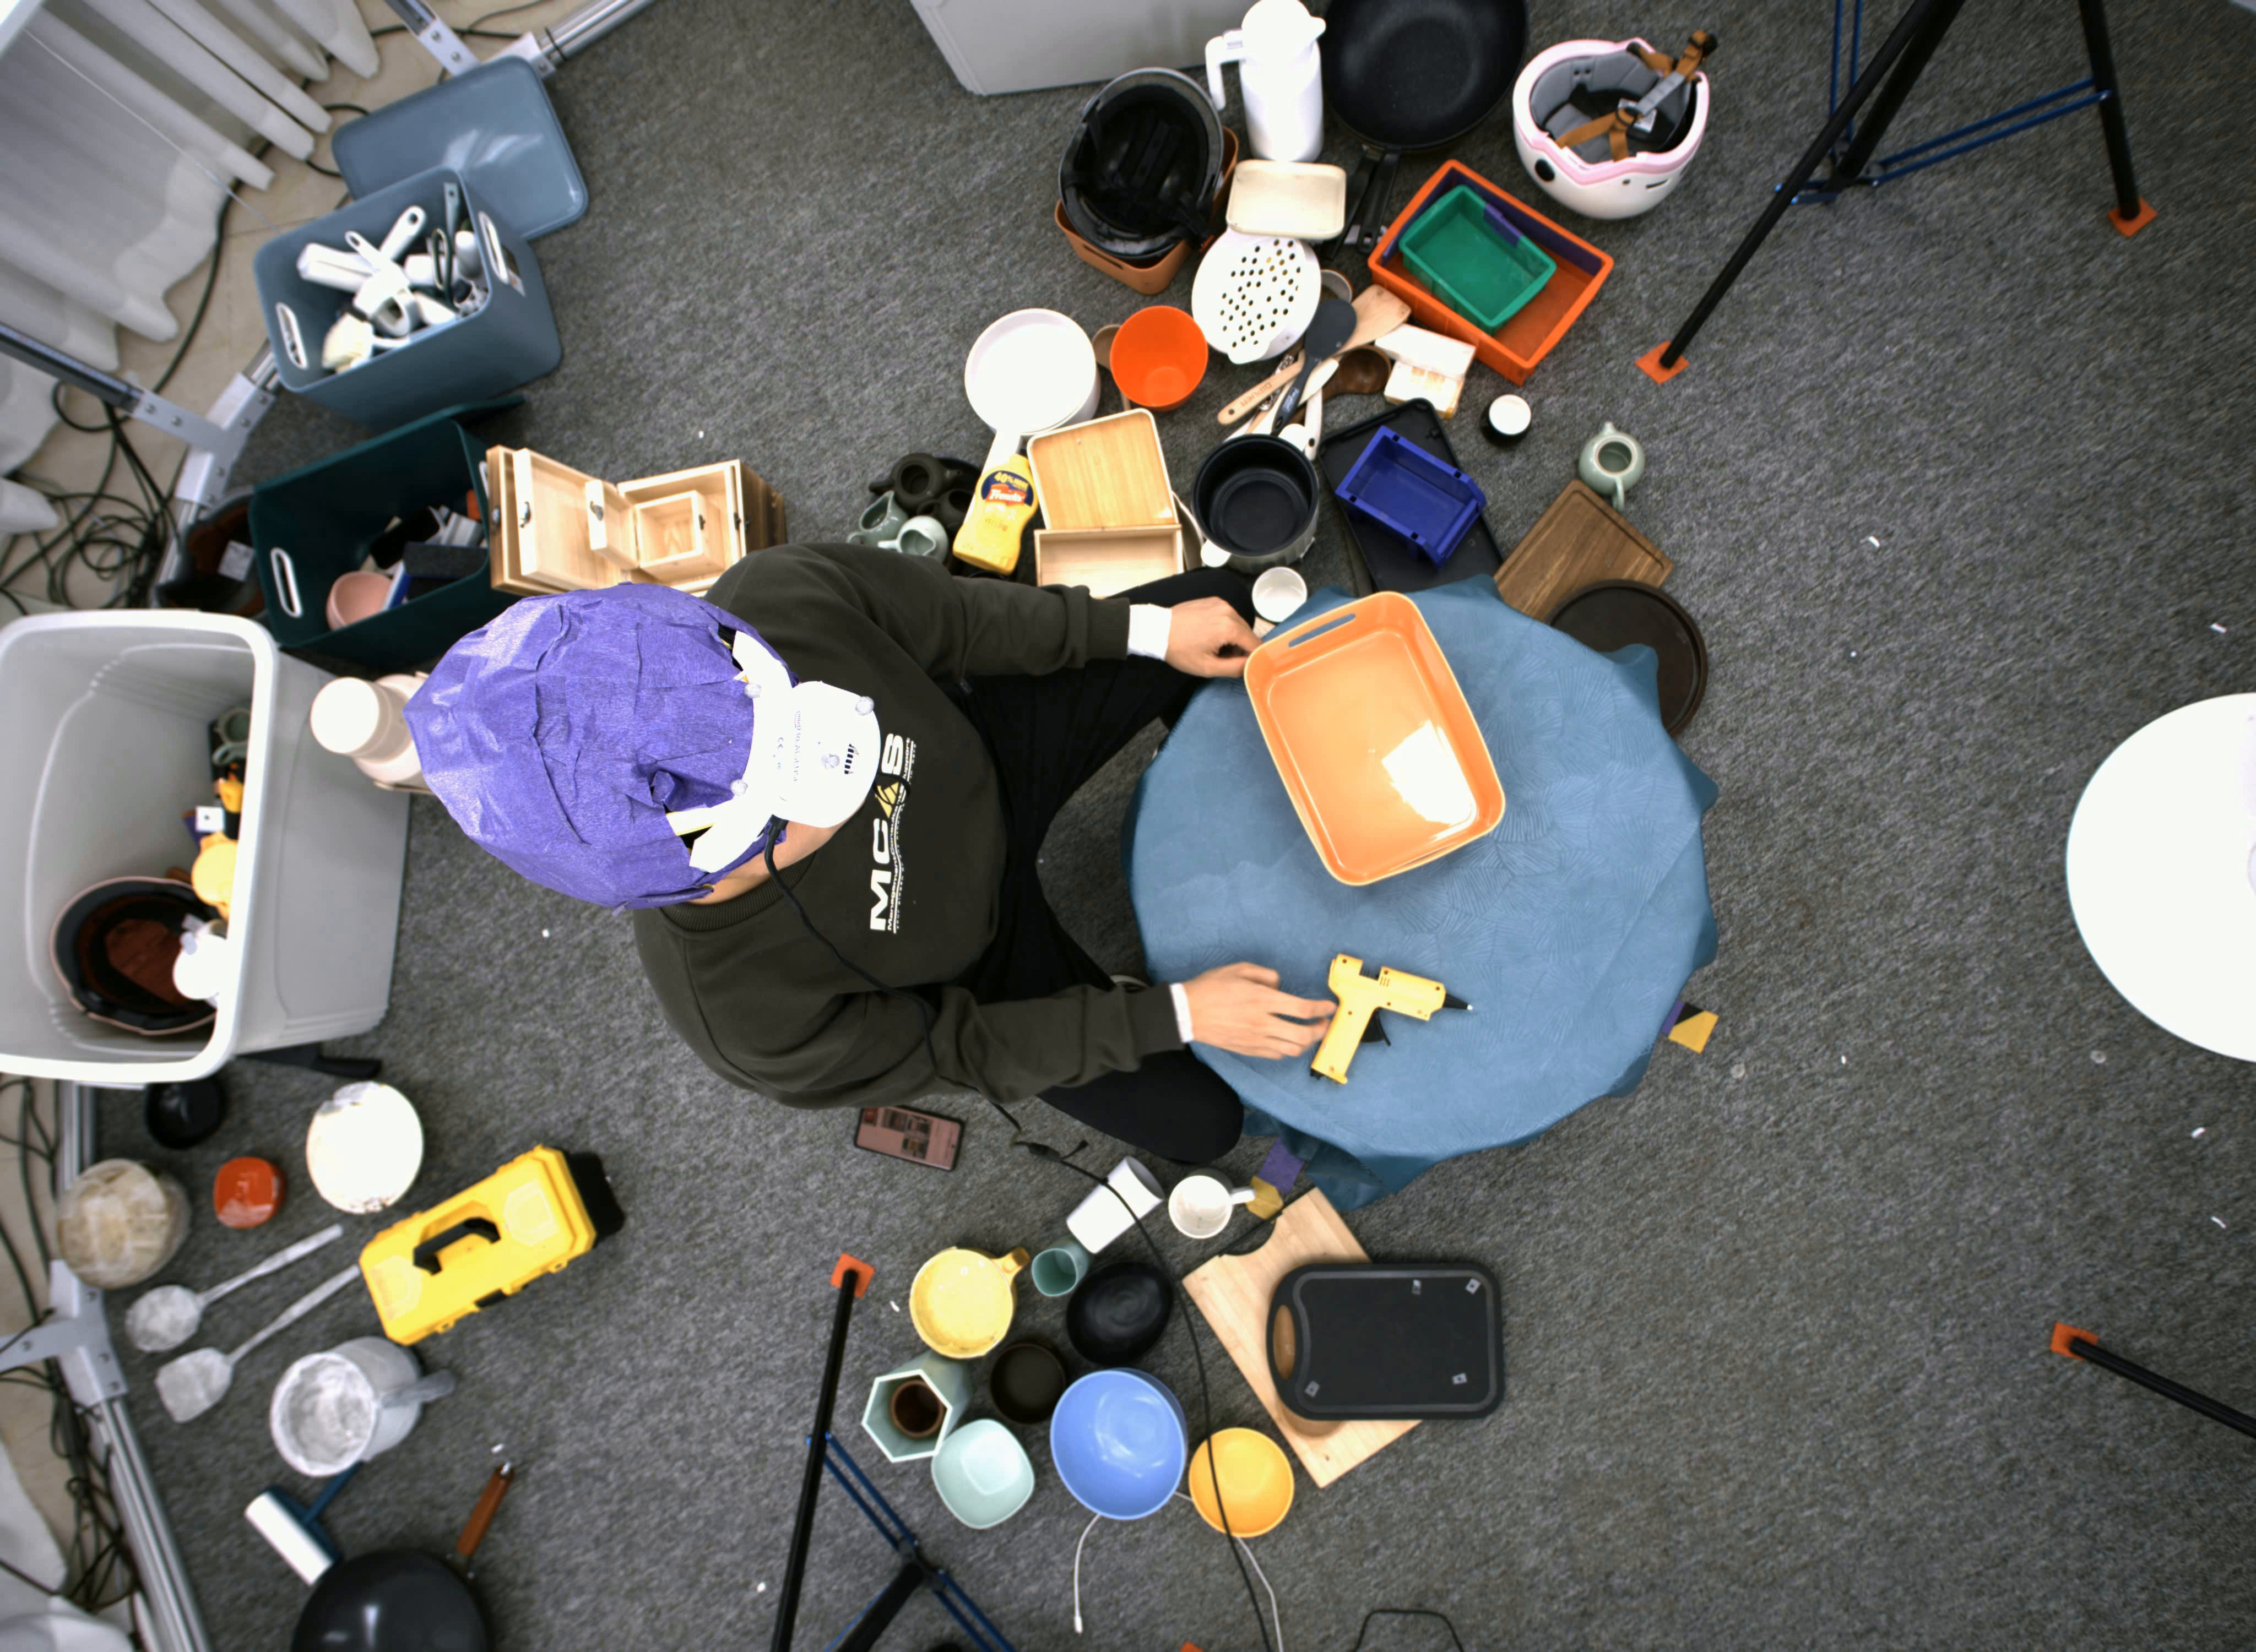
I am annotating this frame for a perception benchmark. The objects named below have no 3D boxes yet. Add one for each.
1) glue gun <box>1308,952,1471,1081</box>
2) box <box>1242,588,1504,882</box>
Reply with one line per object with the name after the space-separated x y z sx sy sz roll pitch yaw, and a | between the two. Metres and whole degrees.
0.273 0.209 1.438 0.151 0.031 0.133 11 90 11 | glue gun
0.249 -0.087 1.420 0.200 0.102 0.271 -24 83 8 | box
